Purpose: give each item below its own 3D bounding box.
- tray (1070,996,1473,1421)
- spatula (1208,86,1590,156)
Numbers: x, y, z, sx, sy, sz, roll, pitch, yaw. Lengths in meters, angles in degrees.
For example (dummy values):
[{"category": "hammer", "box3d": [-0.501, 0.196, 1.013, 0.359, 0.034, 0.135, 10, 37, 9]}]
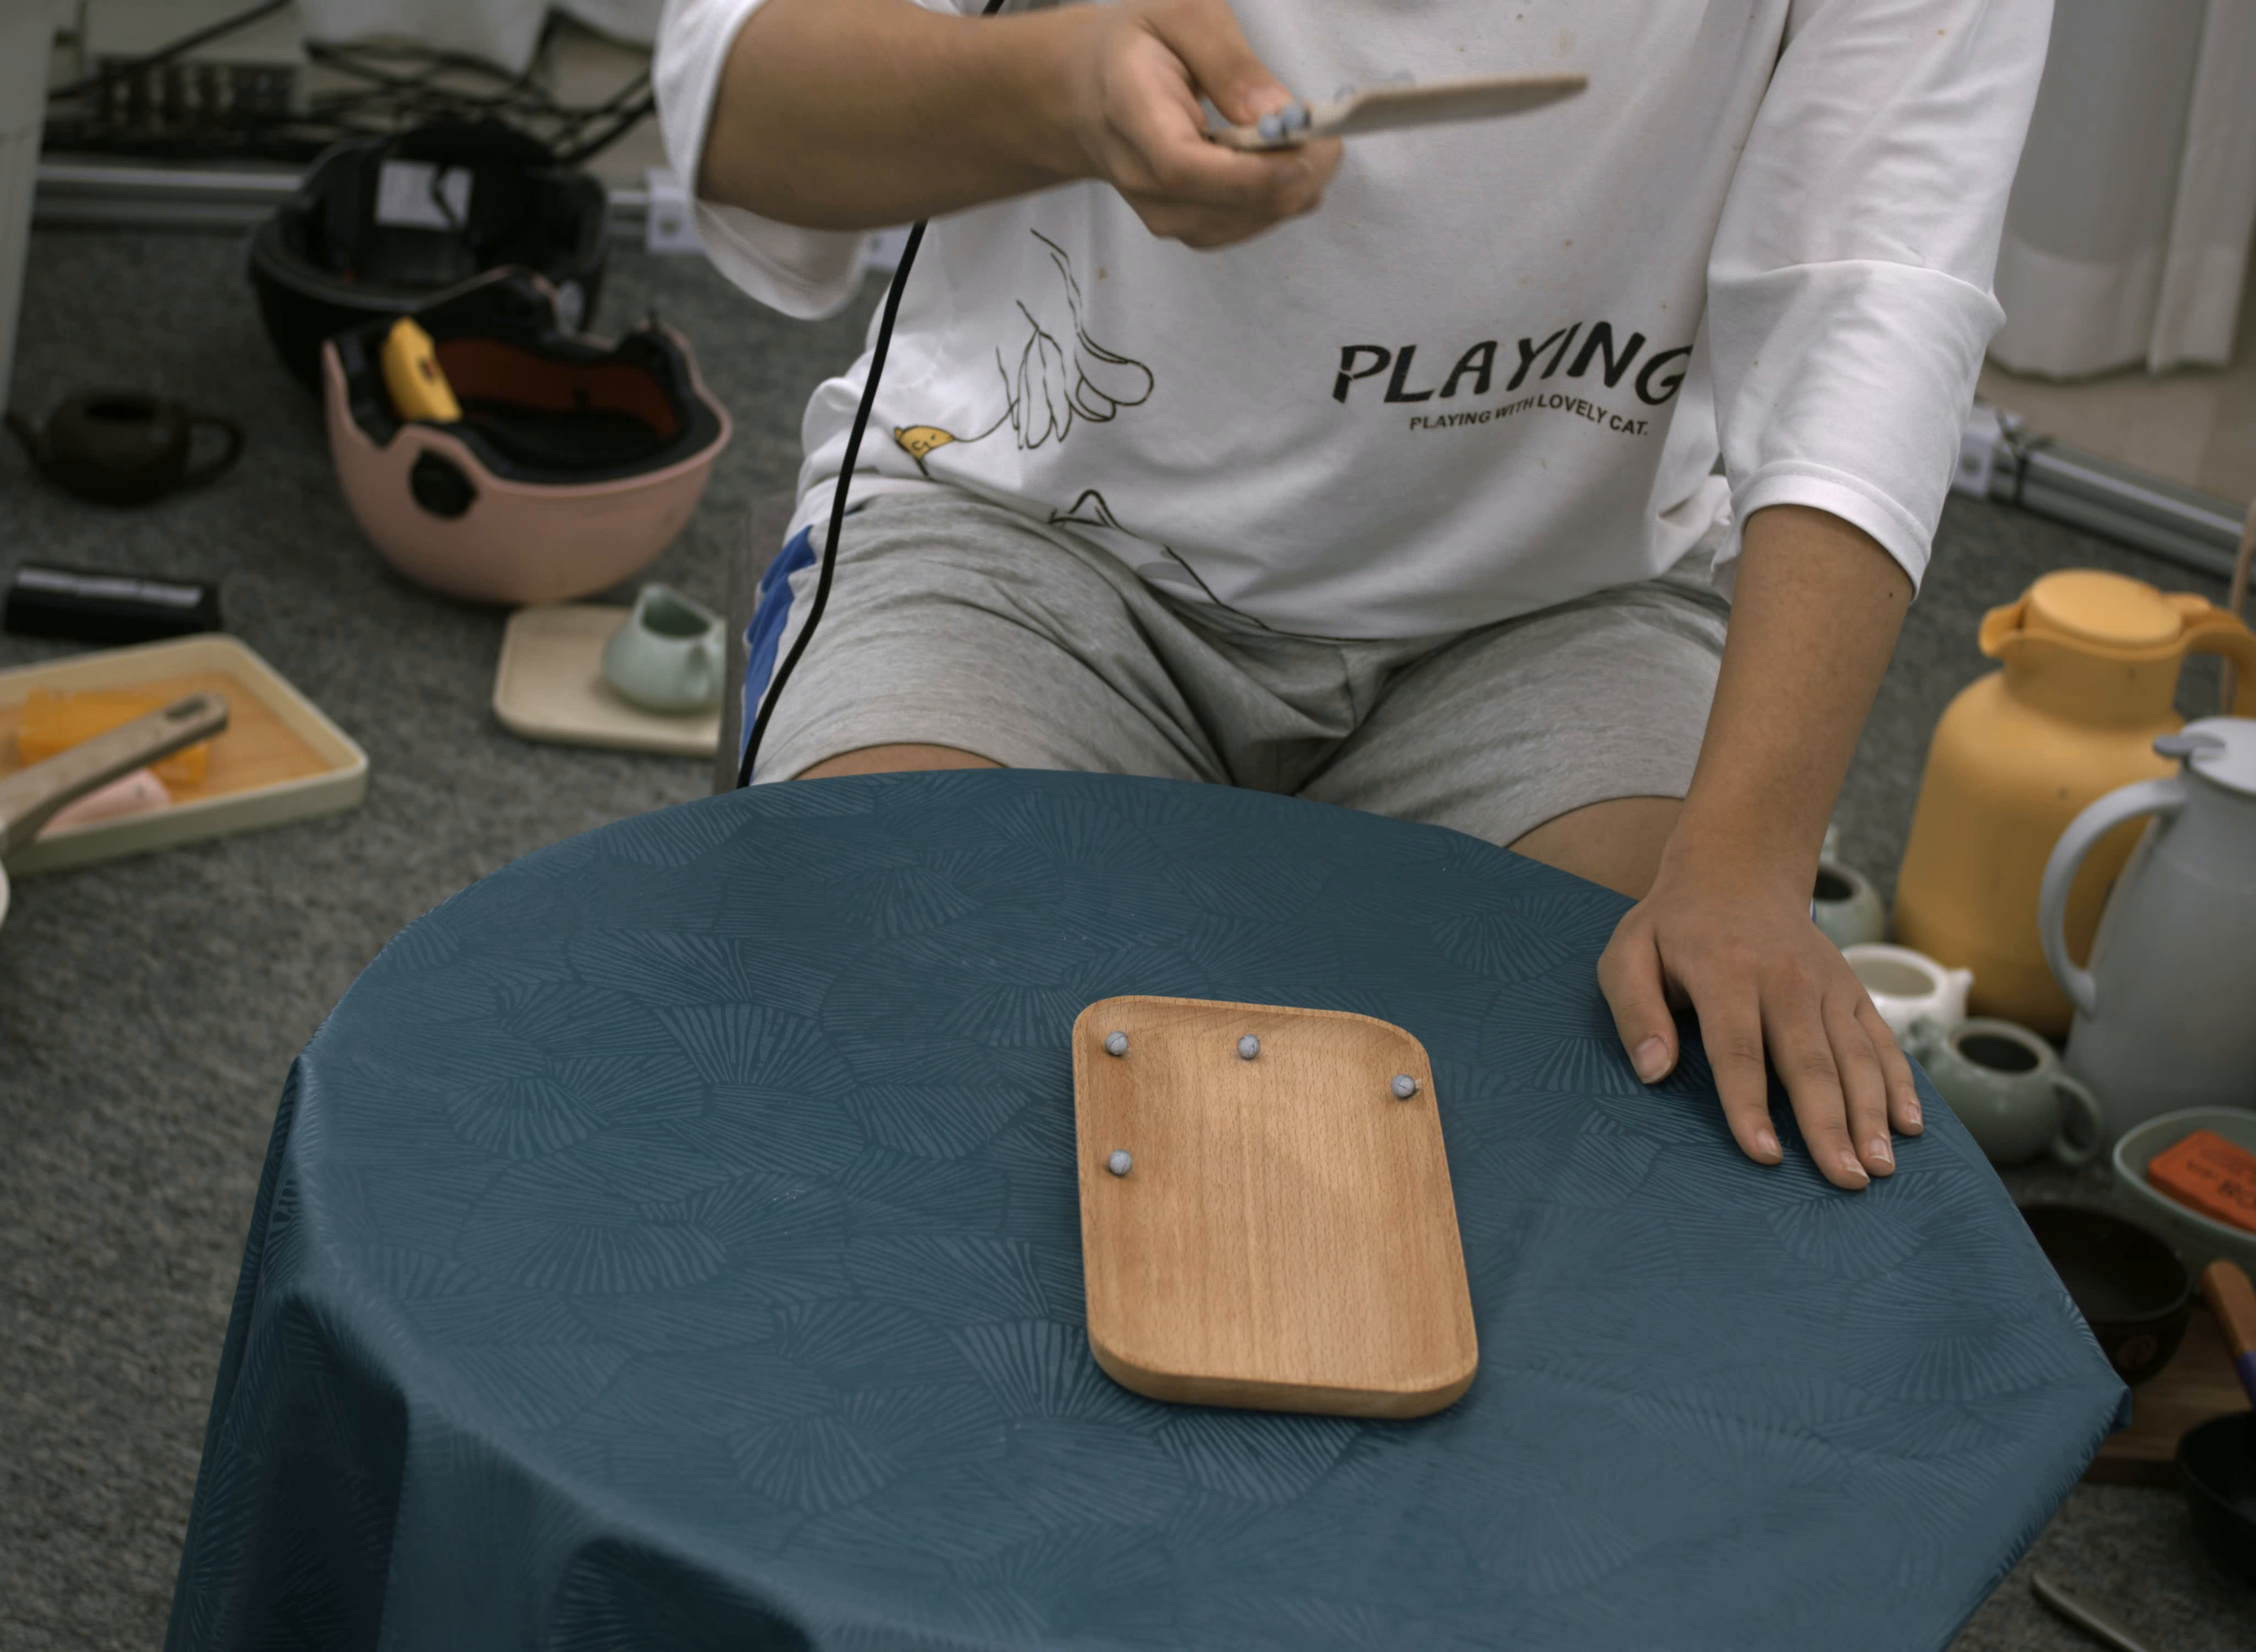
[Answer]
[{"category": "tray", "box3d": [0.045, 0.126, 1.794, 0.130, 0.023, 0.252, 3, 27, -2]}, {"category": "spatula", "box3d": [0.067, -0.214, 1.638, 0.072, 0.010, 0.294, -5, 6, -12]}]
